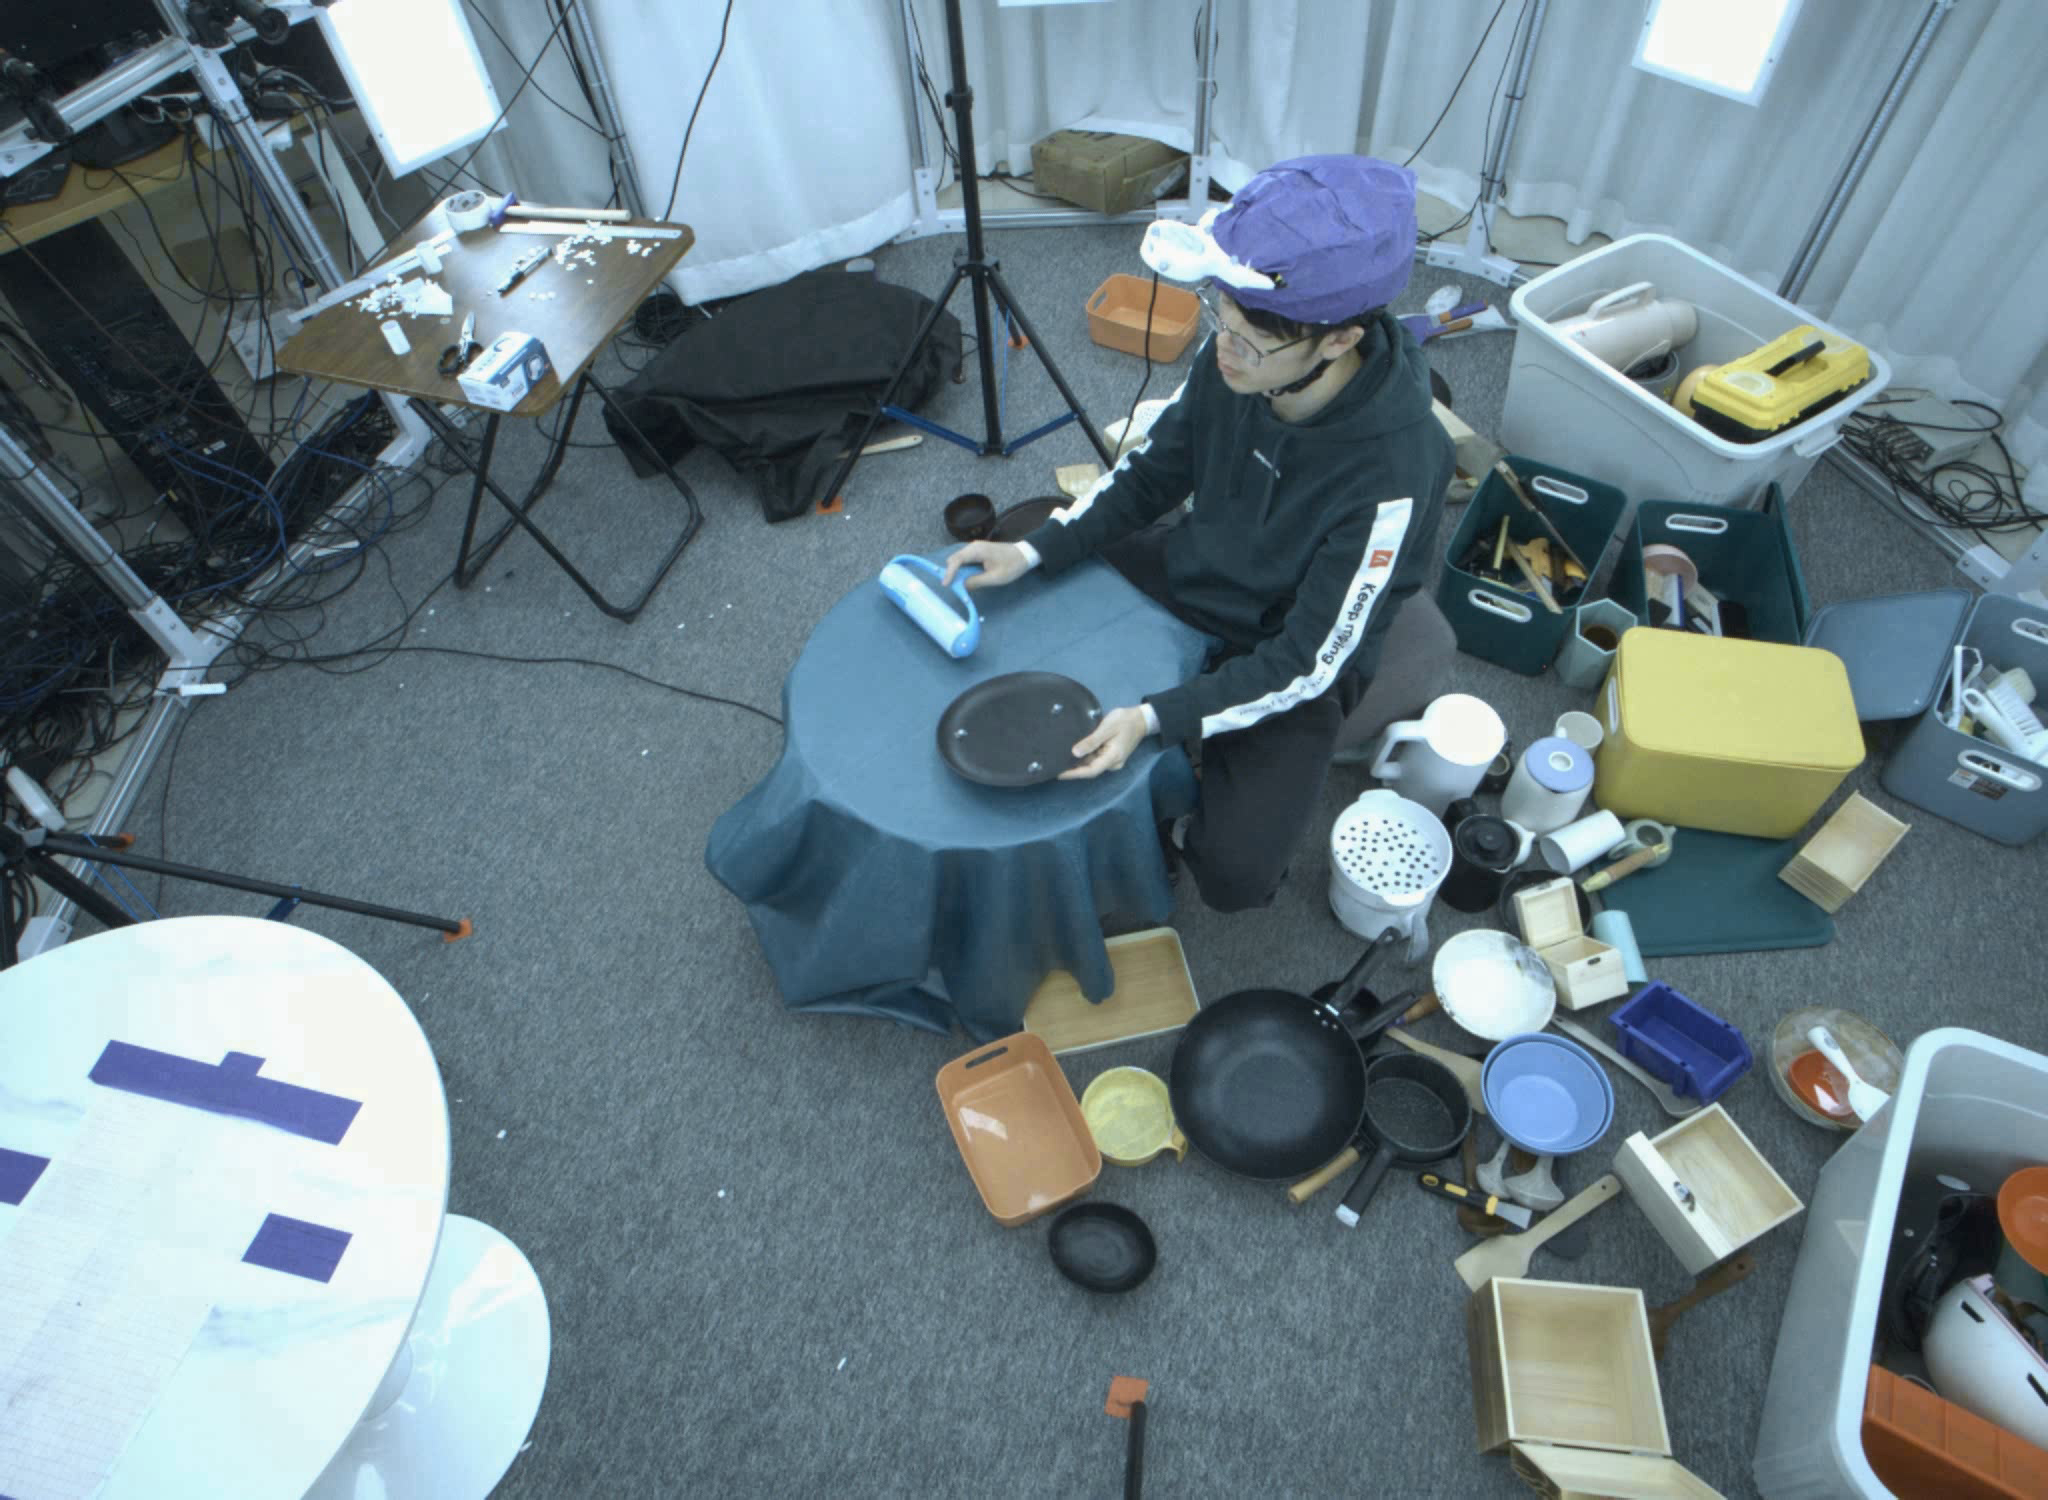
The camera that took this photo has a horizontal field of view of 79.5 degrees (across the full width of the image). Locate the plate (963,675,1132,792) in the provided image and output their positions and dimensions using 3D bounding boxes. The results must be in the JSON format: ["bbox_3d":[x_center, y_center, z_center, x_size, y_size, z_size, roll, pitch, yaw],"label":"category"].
[{"bbox_3d":[0.034,-0.021,1.762,0.244,0.024,0.242,-3,44,4],"label":"plate"}]

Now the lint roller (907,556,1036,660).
[{"bbox_3d":[-0.060,-0.248,1.914,0.181,0.069,0.224,-36,59,-21],"label":"lint roller"}]
